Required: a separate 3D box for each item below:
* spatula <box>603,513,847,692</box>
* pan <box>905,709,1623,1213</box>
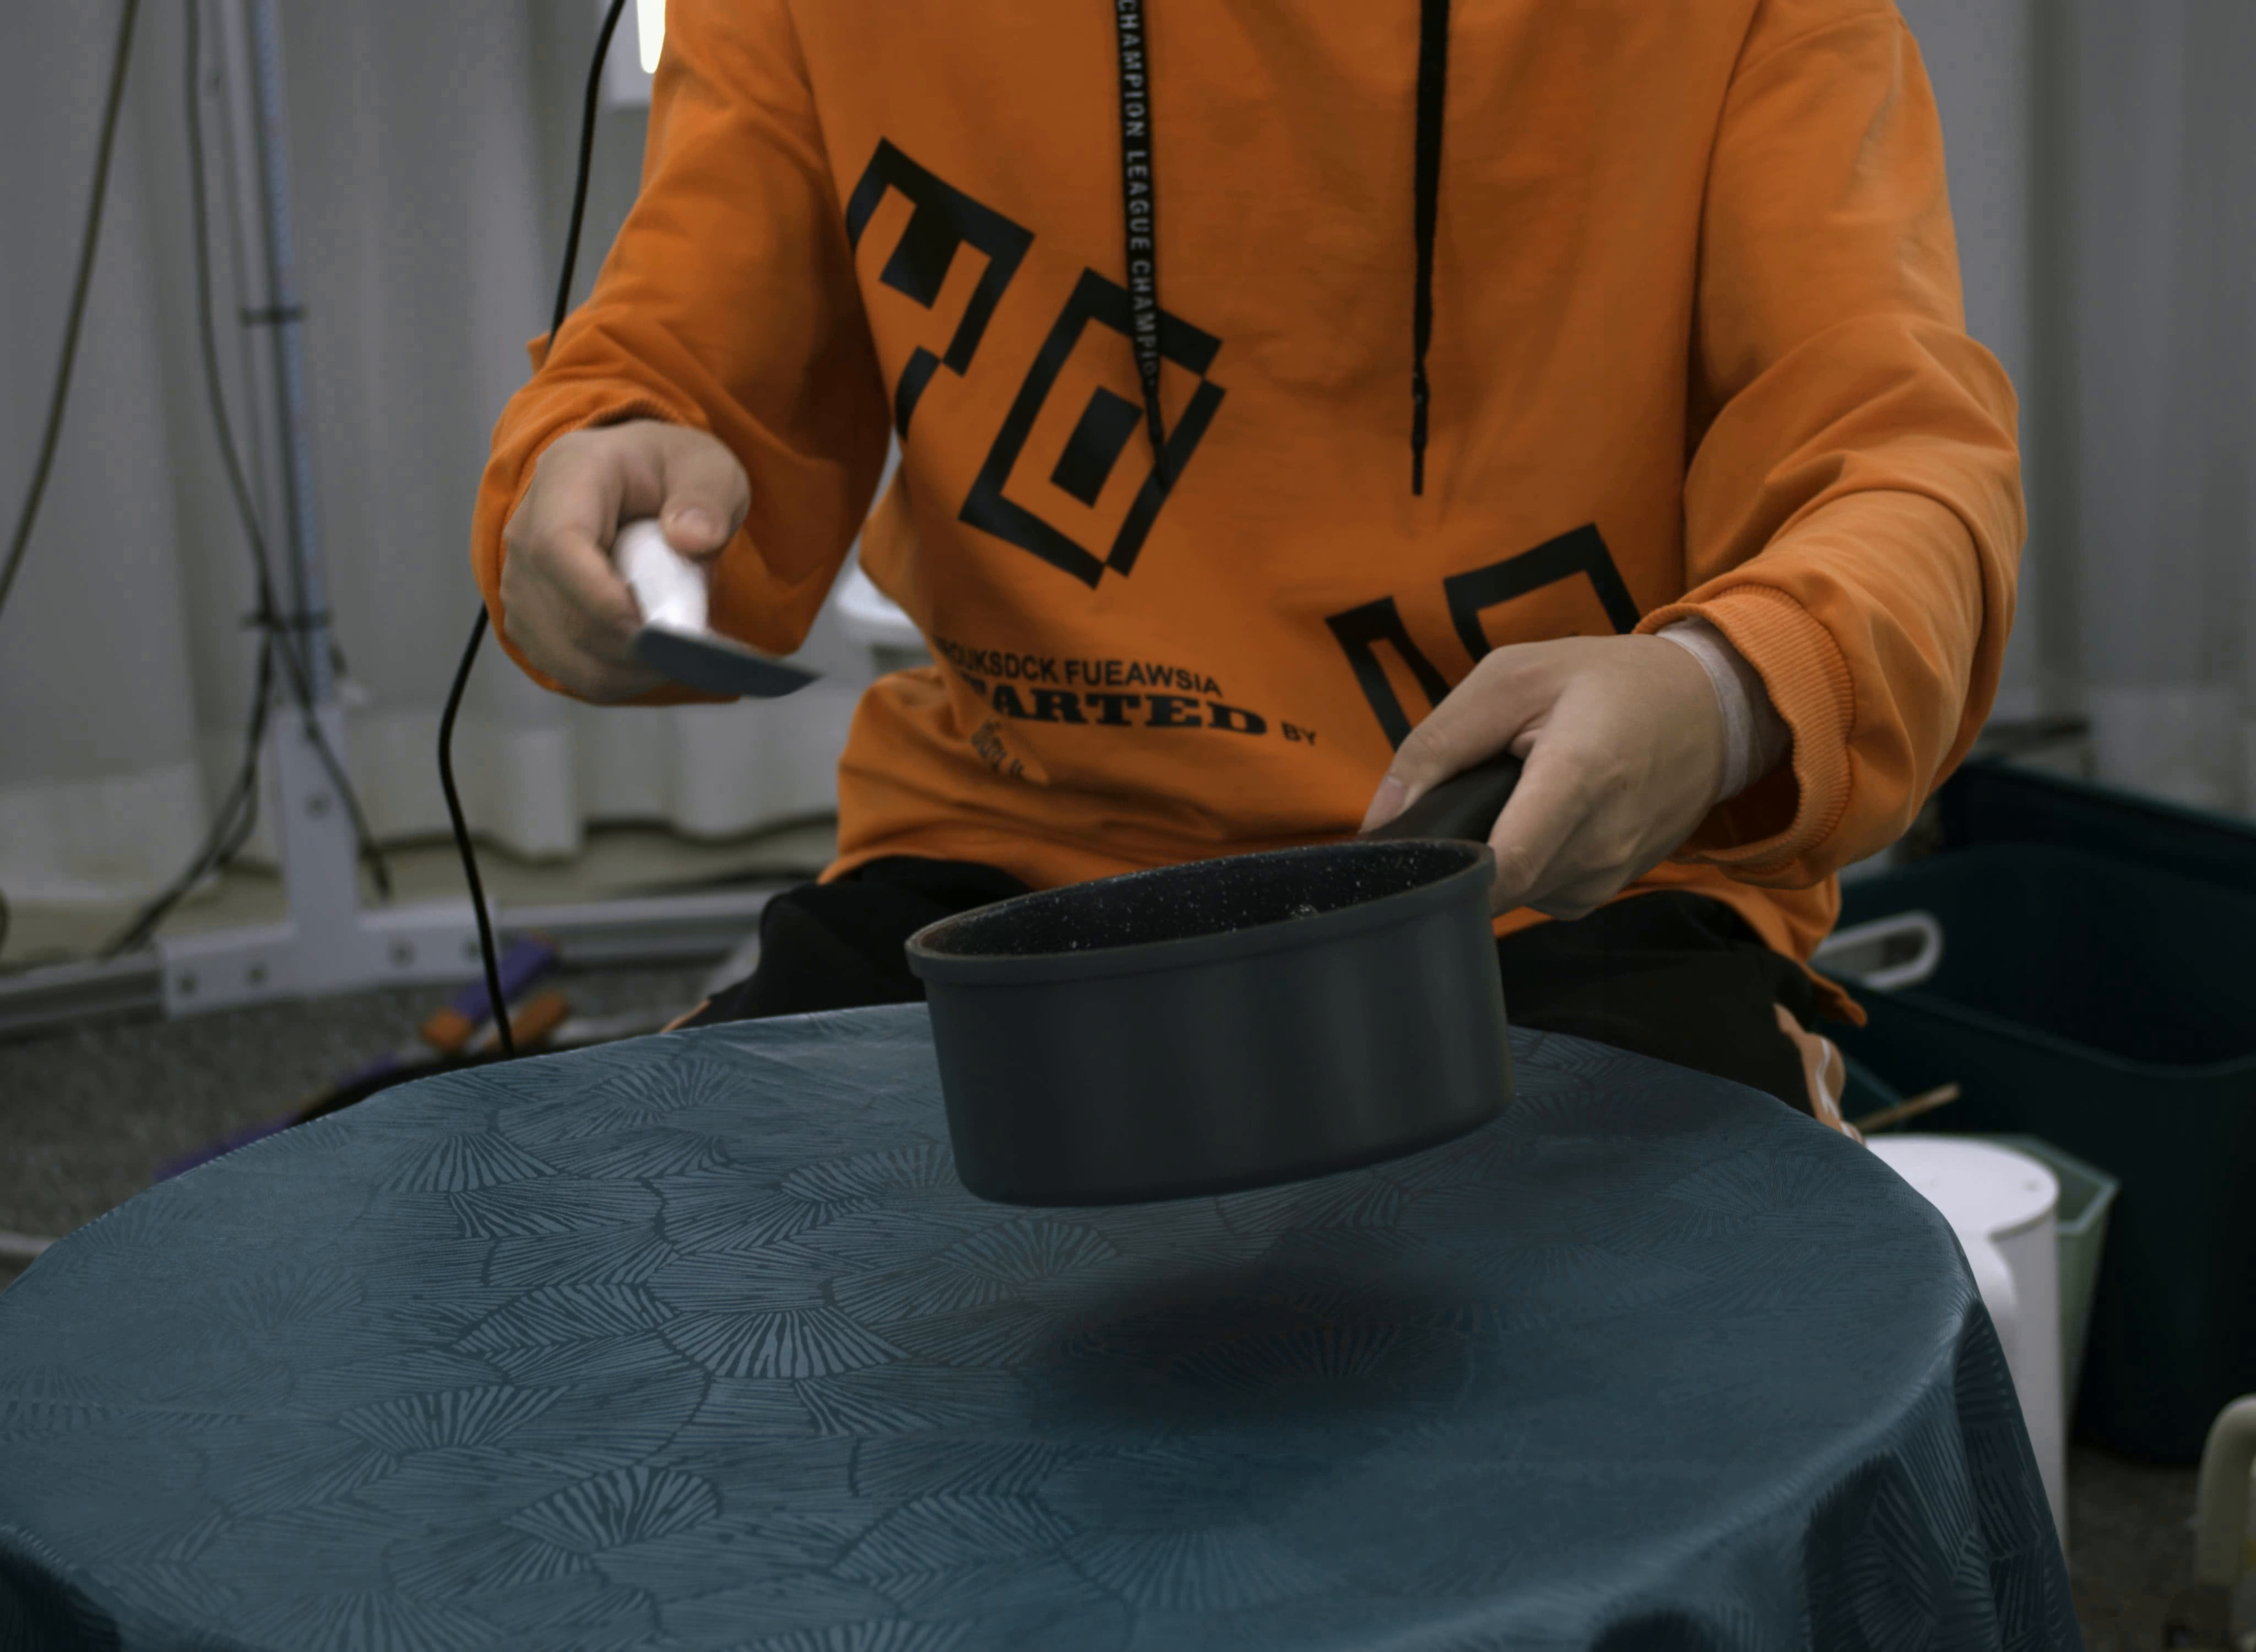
[{"bbox_3d":[-0.132,-0.066,1.678,0.058,0.032,0.289,23,4,-13],"label":"spatula"},{"bbox_3d":[0.066,0.038,1.631,0.172,0.086,0.328,-4,9,32],"label":"pan"}]
